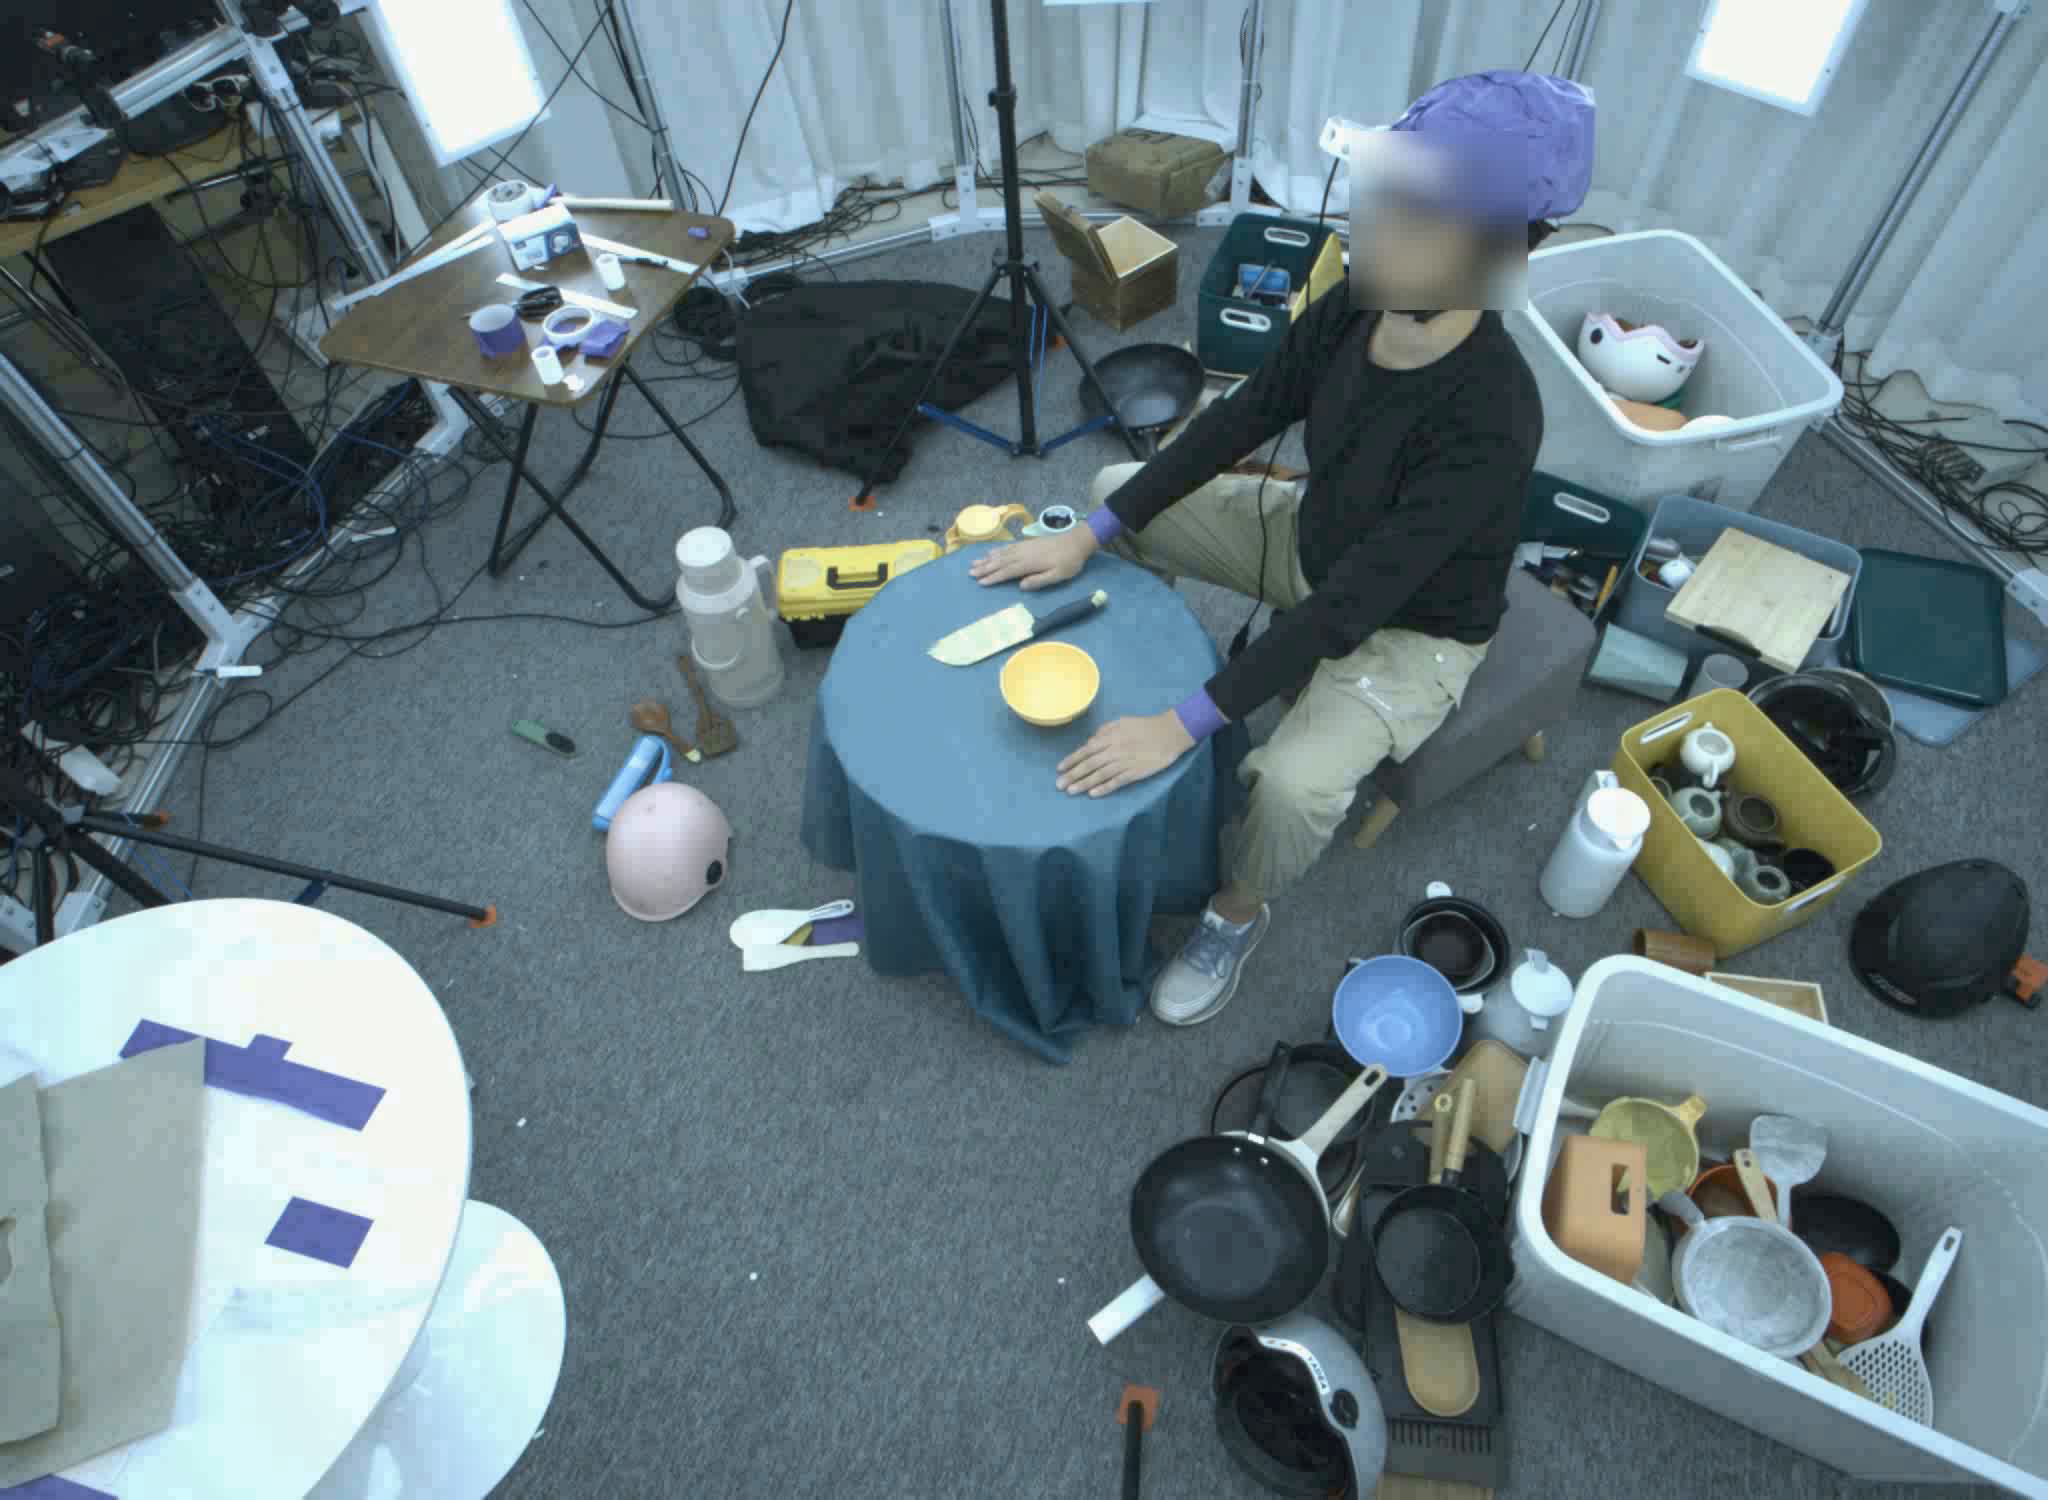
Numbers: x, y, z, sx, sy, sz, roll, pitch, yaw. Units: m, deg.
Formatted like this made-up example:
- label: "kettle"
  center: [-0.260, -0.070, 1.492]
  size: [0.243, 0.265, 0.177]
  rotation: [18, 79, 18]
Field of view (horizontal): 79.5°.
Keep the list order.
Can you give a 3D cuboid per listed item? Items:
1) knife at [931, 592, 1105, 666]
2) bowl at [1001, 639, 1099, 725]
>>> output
- label: "knife"
  center: [-0.011, -0.196, 1.915]
  size: [0.291, 0.027, 0.079]
  rotation: [-21, 58, -12]
- label: "bowl"
  center: [0.039, -0.089, 1.809]
  size: [0.145, 0.061, 0.144]
  rotation: [0, 57, 2]
